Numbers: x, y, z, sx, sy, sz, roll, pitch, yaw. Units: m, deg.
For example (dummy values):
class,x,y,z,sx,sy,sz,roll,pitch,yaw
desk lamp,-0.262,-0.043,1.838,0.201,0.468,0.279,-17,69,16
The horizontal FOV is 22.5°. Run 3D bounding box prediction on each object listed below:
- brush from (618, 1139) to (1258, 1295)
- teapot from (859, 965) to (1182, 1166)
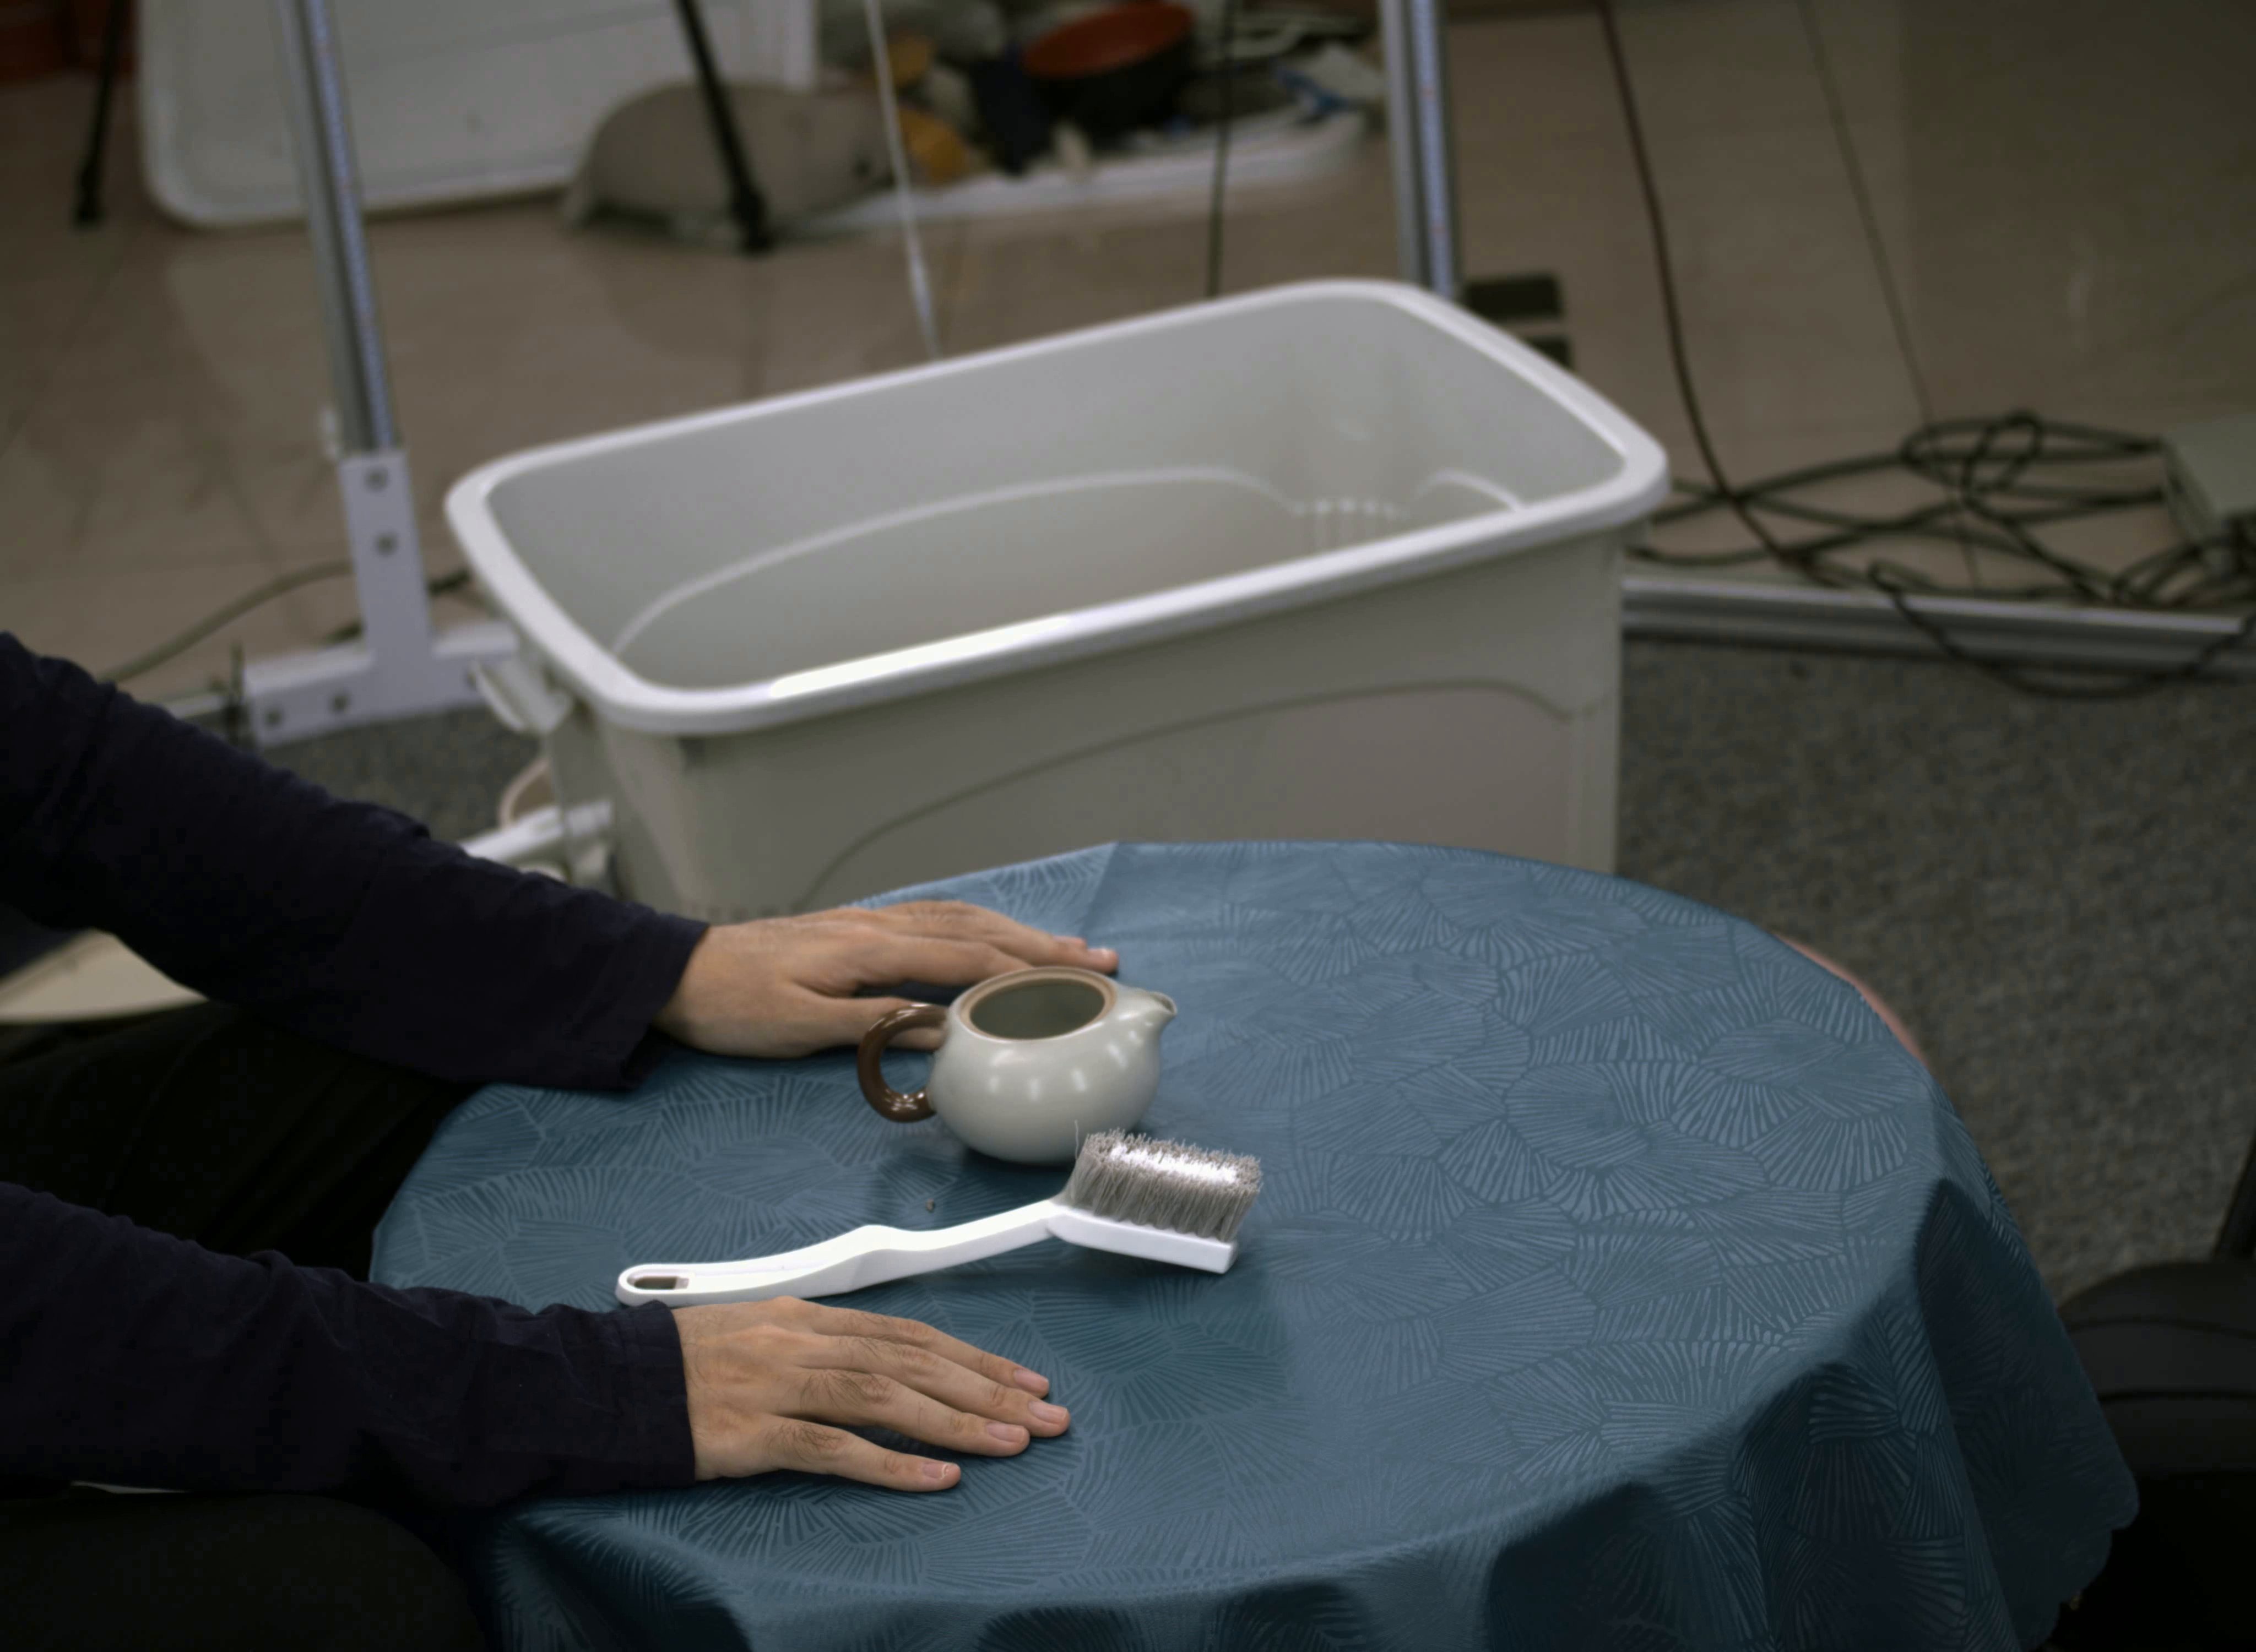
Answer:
class,x,y,z,sx,sy,sz,roll,pitch,yaw
brush,-0.072,0.145,2.096,0.243,0.051,0.034,-3,30,8
teapot,-0.041,0.093,2.189,0.128,0.060,0.090,-3,29,6
